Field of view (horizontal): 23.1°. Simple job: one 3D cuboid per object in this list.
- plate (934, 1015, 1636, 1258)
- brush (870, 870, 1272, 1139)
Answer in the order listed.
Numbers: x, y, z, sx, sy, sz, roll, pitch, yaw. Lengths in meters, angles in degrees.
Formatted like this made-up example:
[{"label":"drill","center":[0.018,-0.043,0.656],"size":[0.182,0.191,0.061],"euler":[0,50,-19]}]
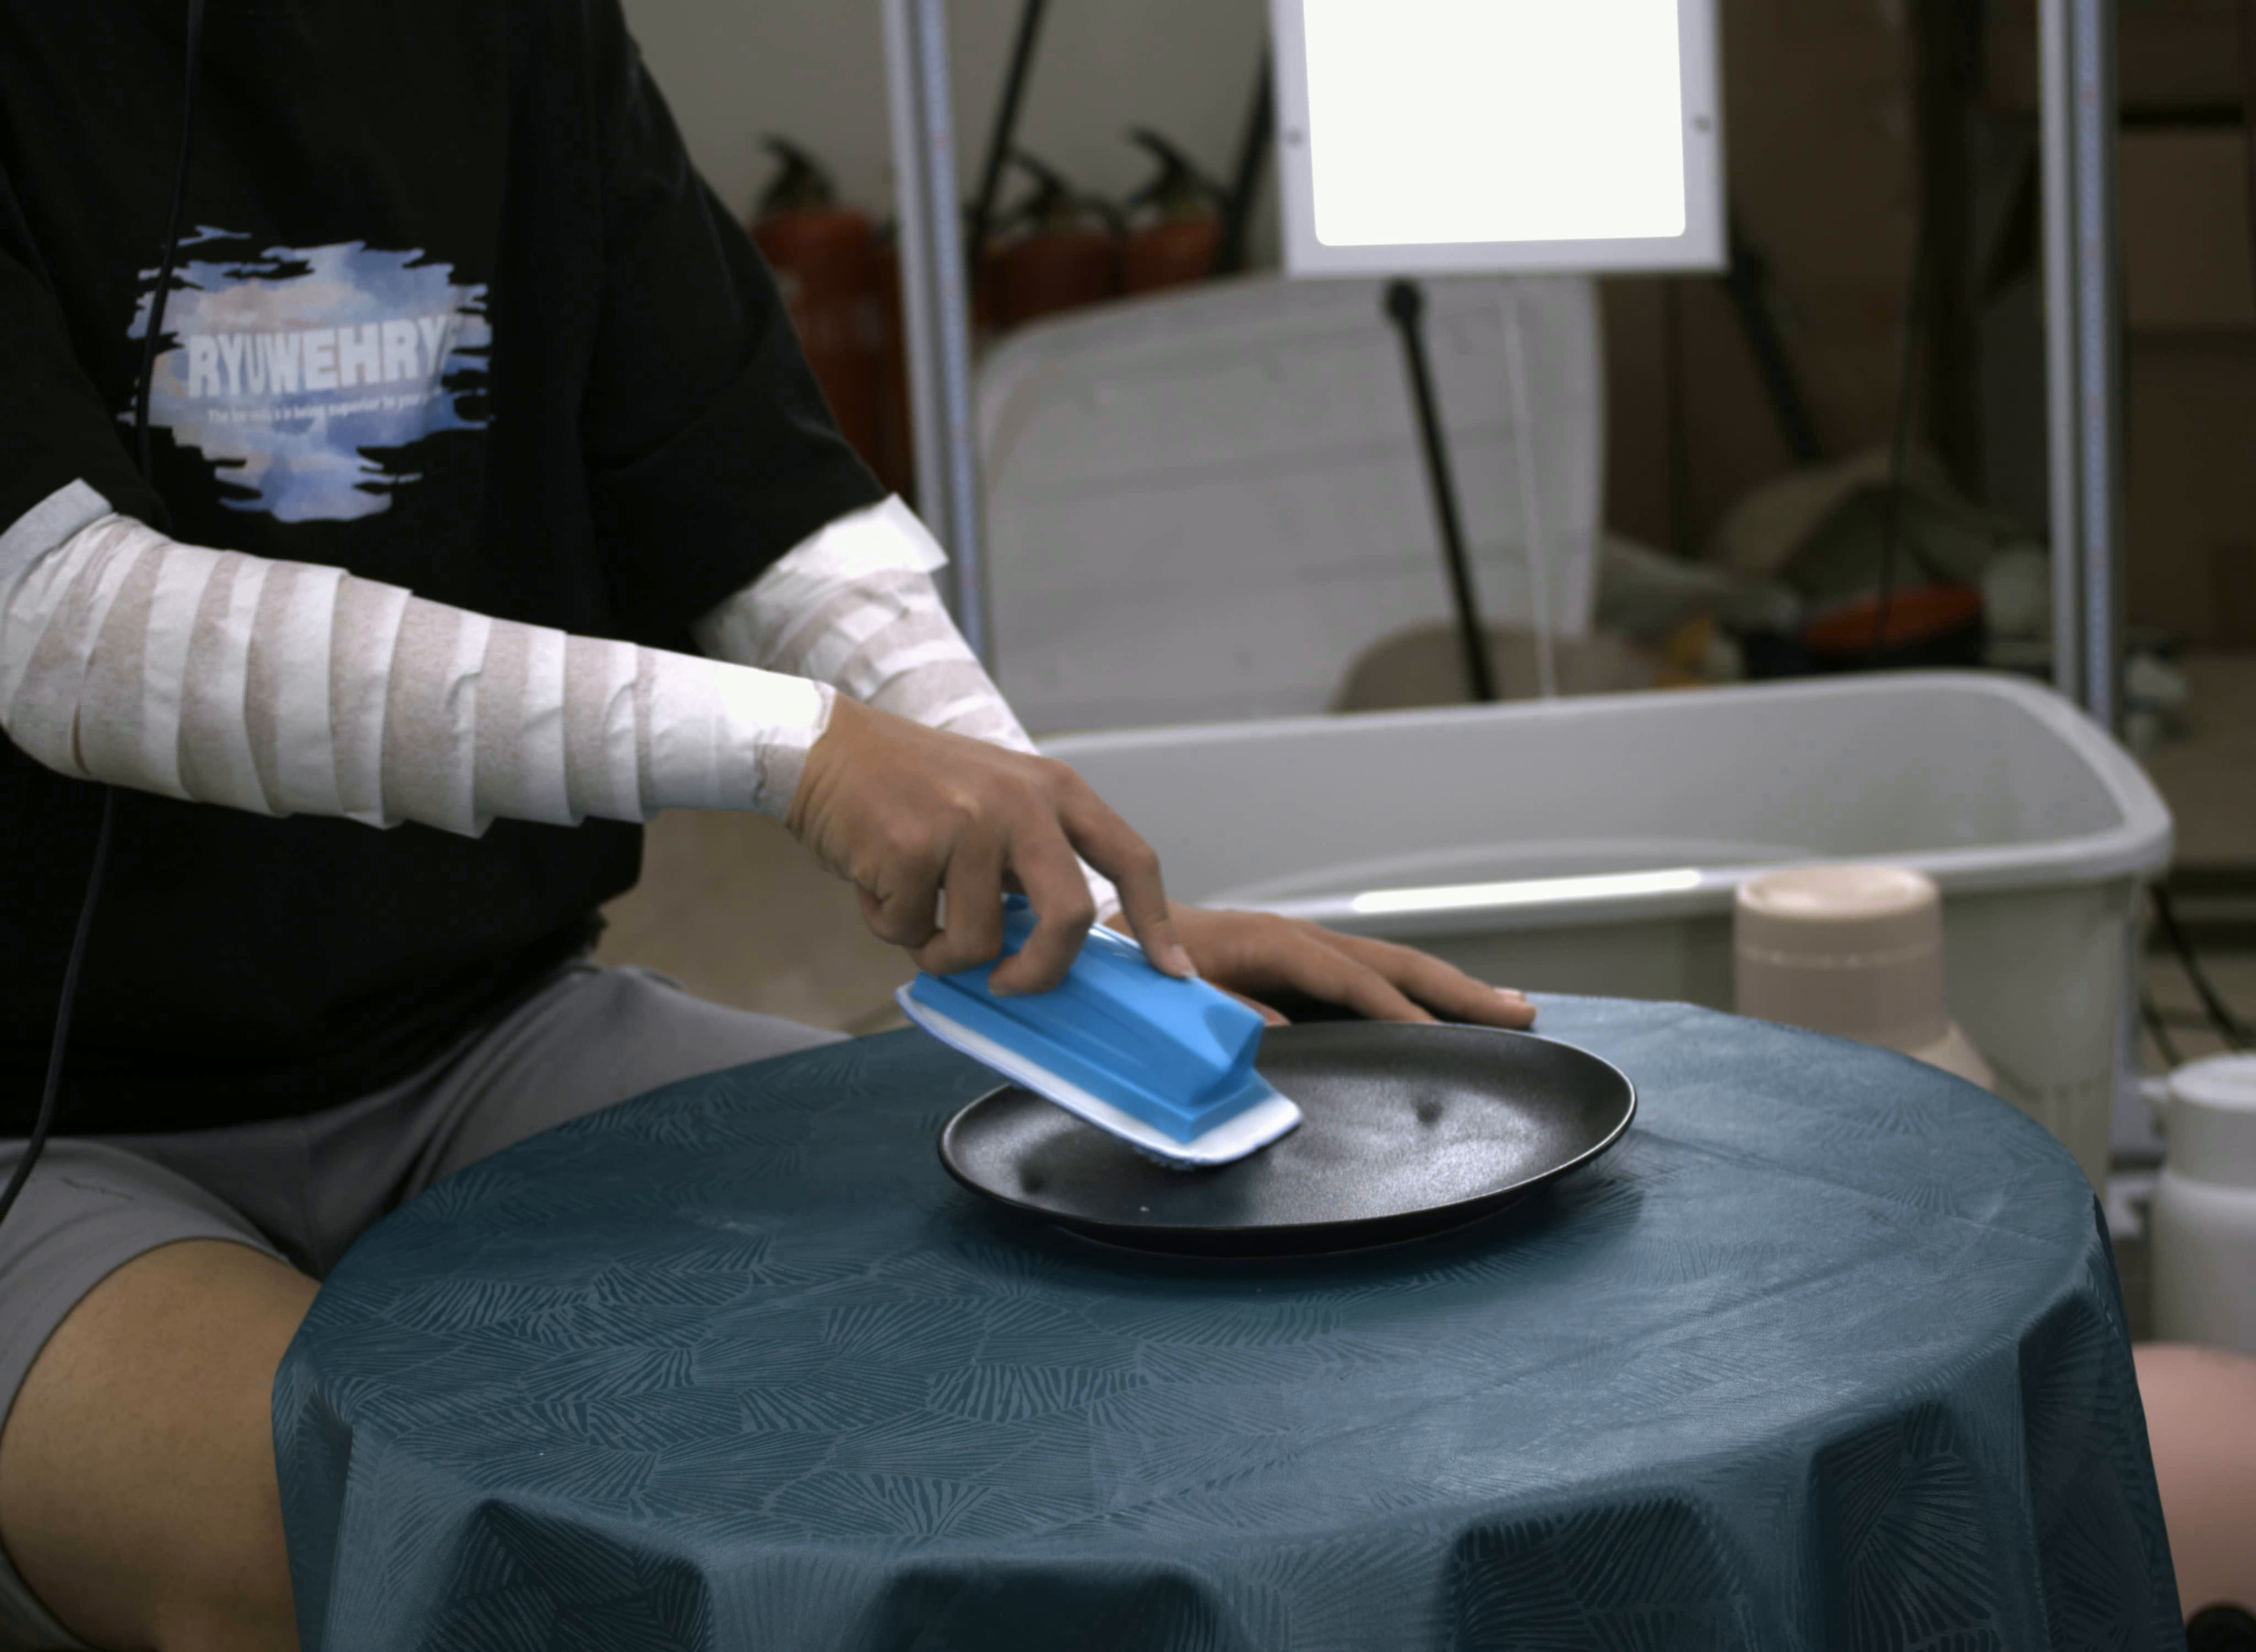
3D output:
[{"label":"plate","center":[0.055,0.109,1.897],"size":[0.244,0.023,0.244],"euler":[-5,14,0]},{"label":"brush","center":[-0.015,0.059,1.928],"size":[0.146,0.056,0.082],"euler":[29,23,25]}]
